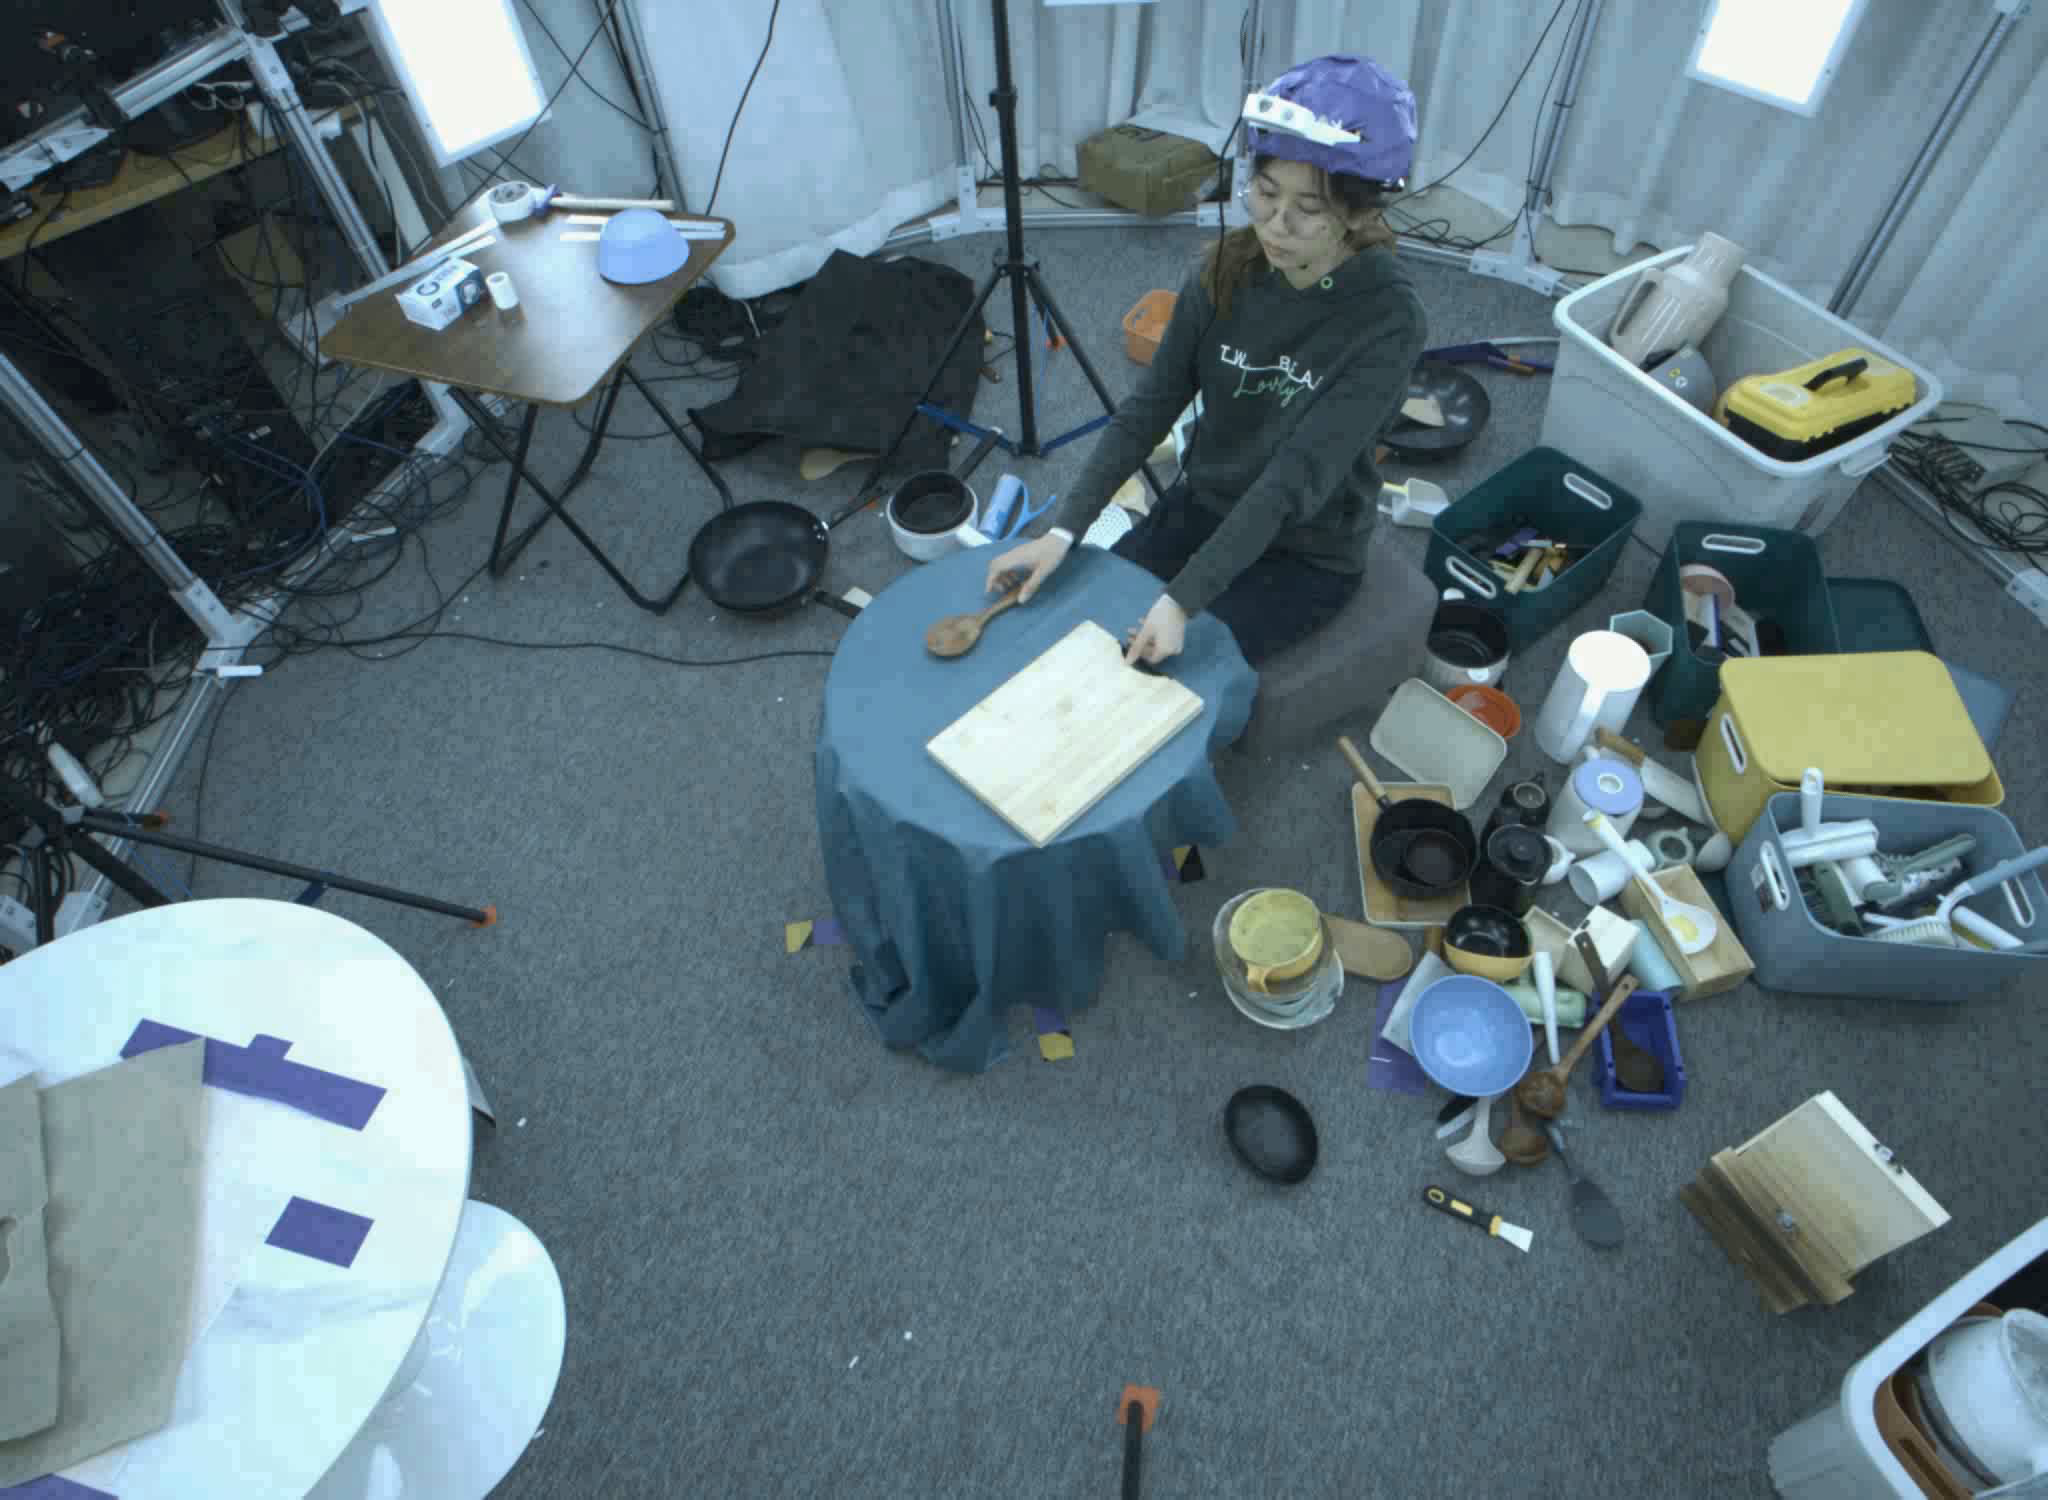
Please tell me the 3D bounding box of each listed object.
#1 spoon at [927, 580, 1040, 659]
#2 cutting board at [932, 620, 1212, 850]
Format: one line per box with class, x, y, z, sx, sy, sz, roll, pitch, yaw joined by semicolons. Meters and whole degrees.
spoon;-0.060;-0.206;1.934;0.217;0.017;0.074;-36;60;-21
cutting board;0.069;-0.033;1.809;0.246;0.024;0.351;39;64;24
